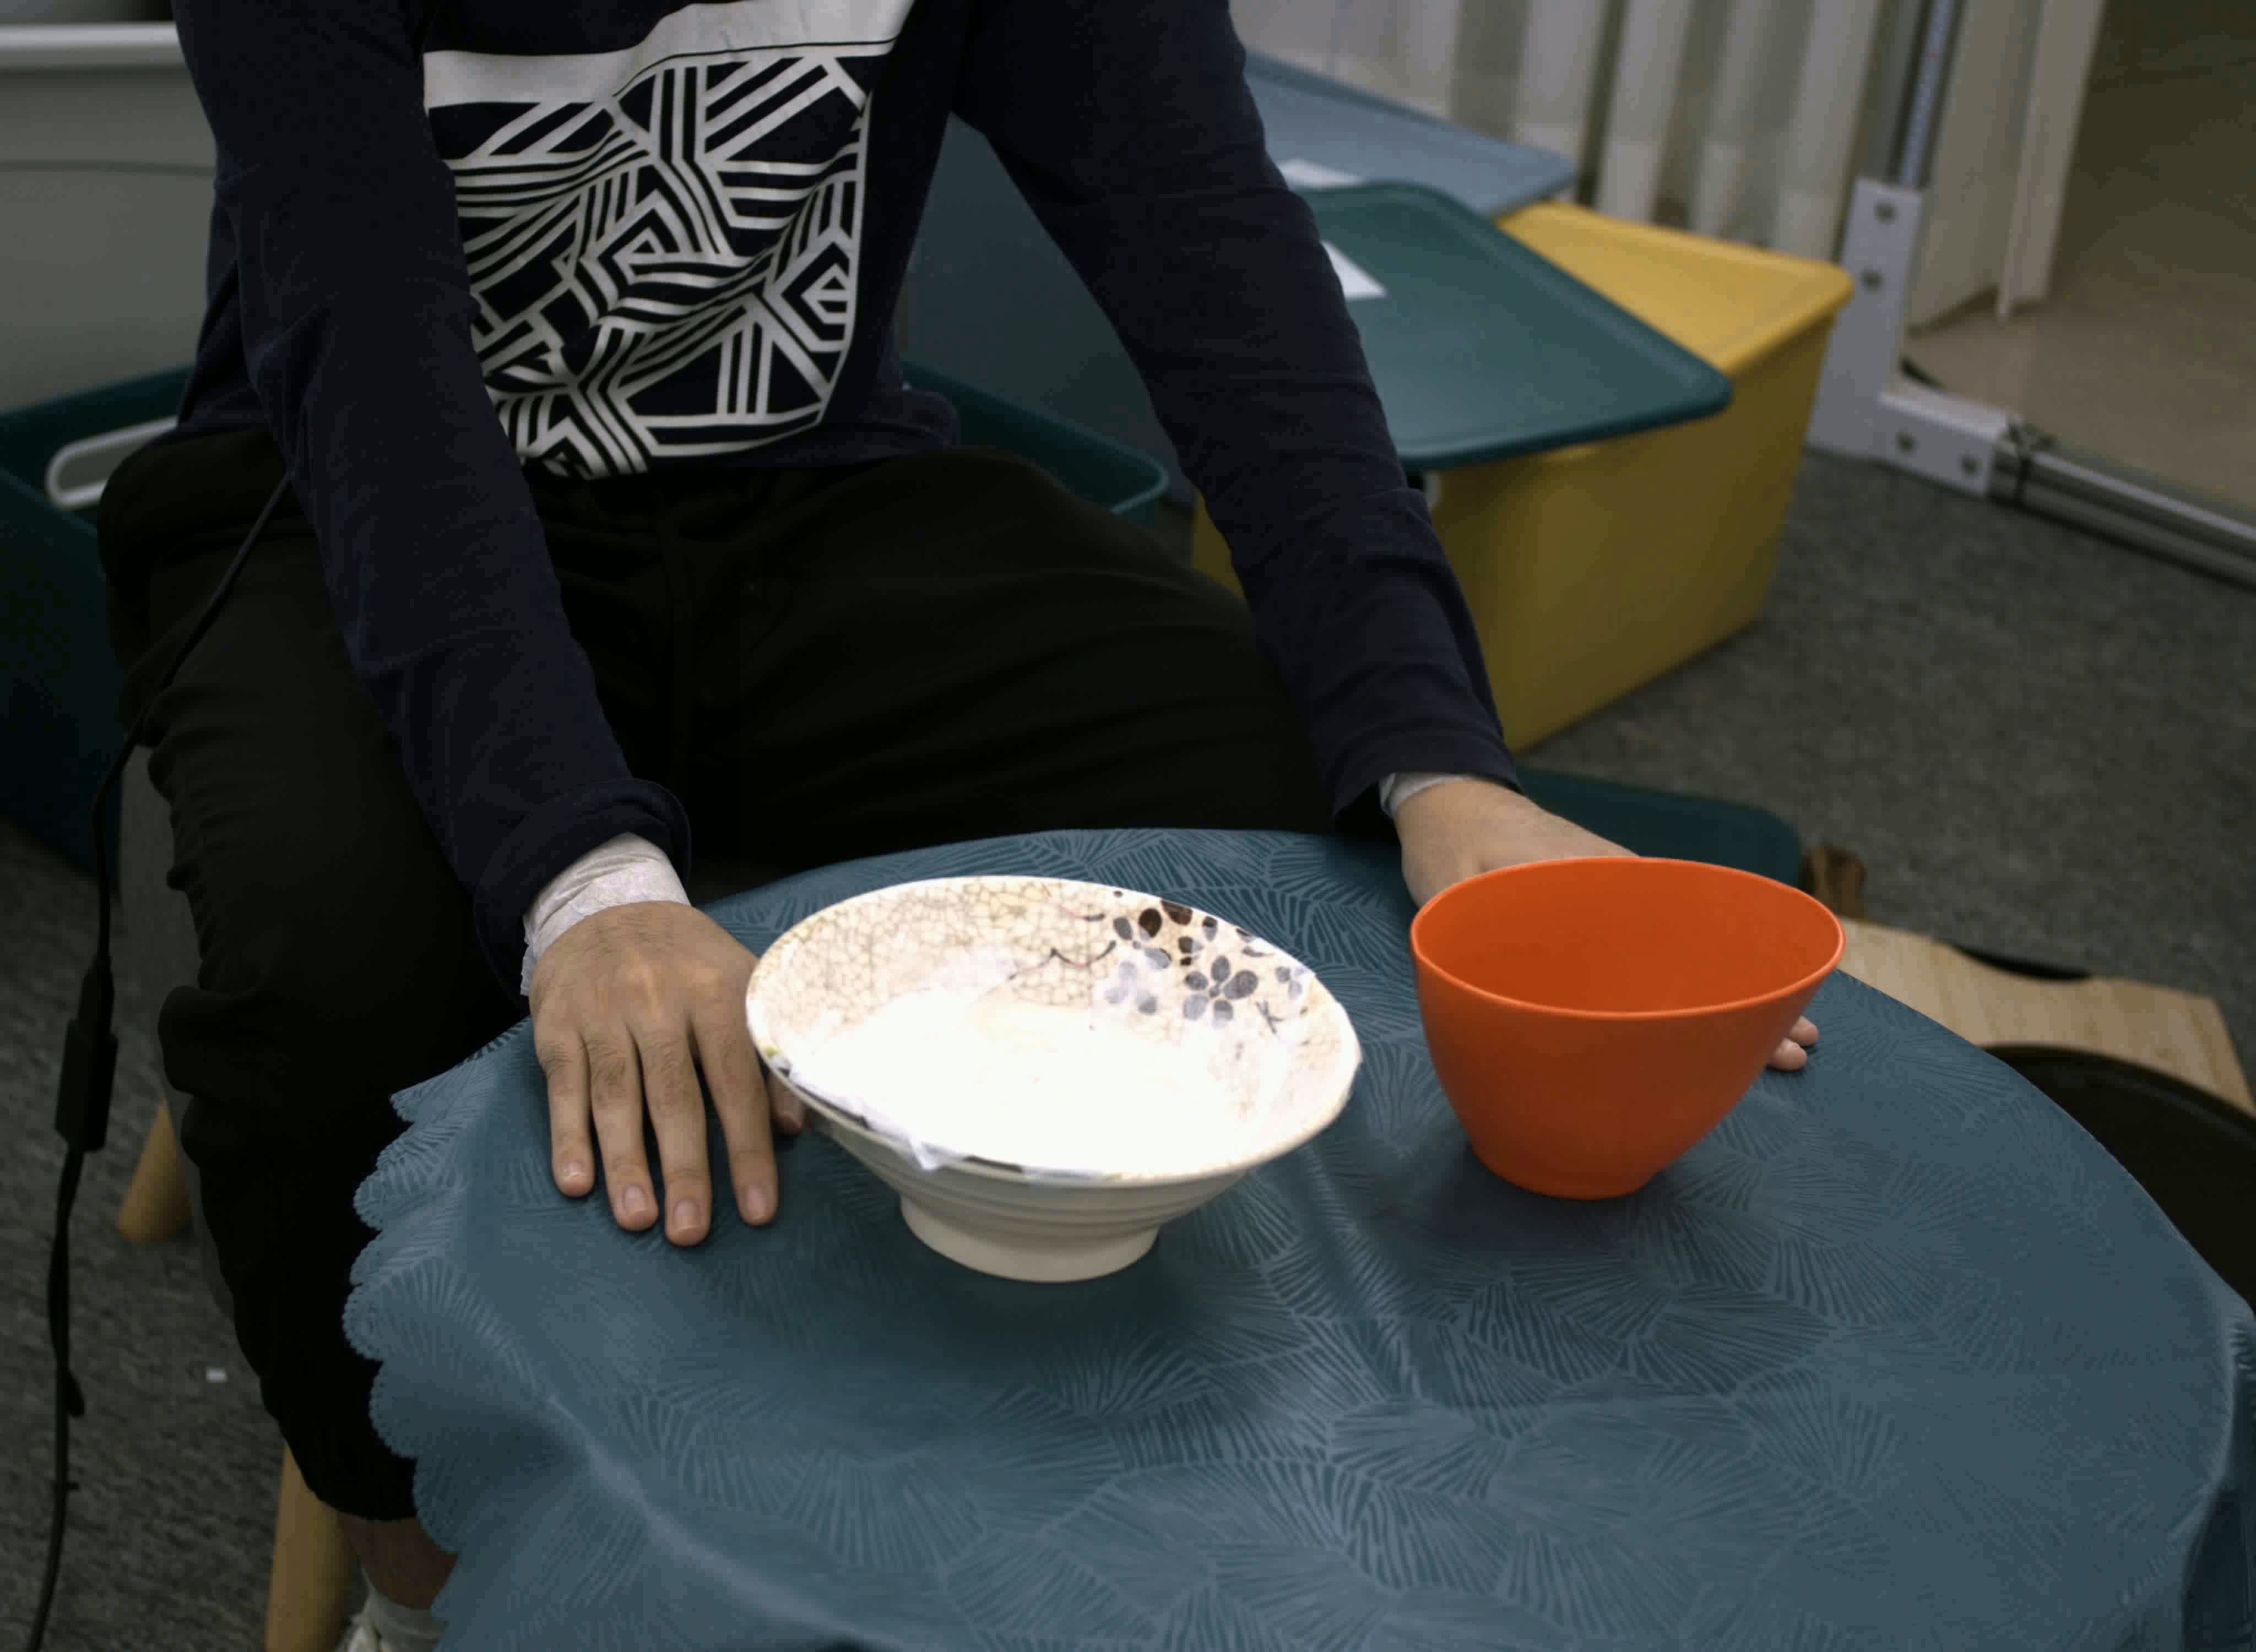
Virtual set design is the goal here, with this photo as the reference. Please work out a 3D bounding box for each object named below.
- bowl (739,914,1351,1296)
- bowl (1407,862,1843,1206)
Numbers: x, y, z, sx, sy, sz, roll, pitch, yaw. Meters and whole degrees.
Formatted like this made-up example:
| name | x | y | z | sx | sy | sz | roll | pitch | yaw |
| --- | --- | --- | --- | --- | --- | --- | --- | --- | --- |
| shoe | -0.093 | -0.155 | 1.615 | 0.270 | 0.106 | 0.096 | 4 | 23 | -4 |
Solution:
| name | x | y | z | sx | sy | sz | roll | pitch | yaw |
| --- | --- | --- | --- | --- | --- | --- | --- | --- | --- |
| bowl | -0.030 | 0.103 | 1.767 | 0.203 | 0.078 | 0.205 | 5 | 21 | -2 |
| bowl | 0.165 | 0.074 | 1.831 | 0.147 | 0.104 | 0.149 | 4 | 25 | -2 |
